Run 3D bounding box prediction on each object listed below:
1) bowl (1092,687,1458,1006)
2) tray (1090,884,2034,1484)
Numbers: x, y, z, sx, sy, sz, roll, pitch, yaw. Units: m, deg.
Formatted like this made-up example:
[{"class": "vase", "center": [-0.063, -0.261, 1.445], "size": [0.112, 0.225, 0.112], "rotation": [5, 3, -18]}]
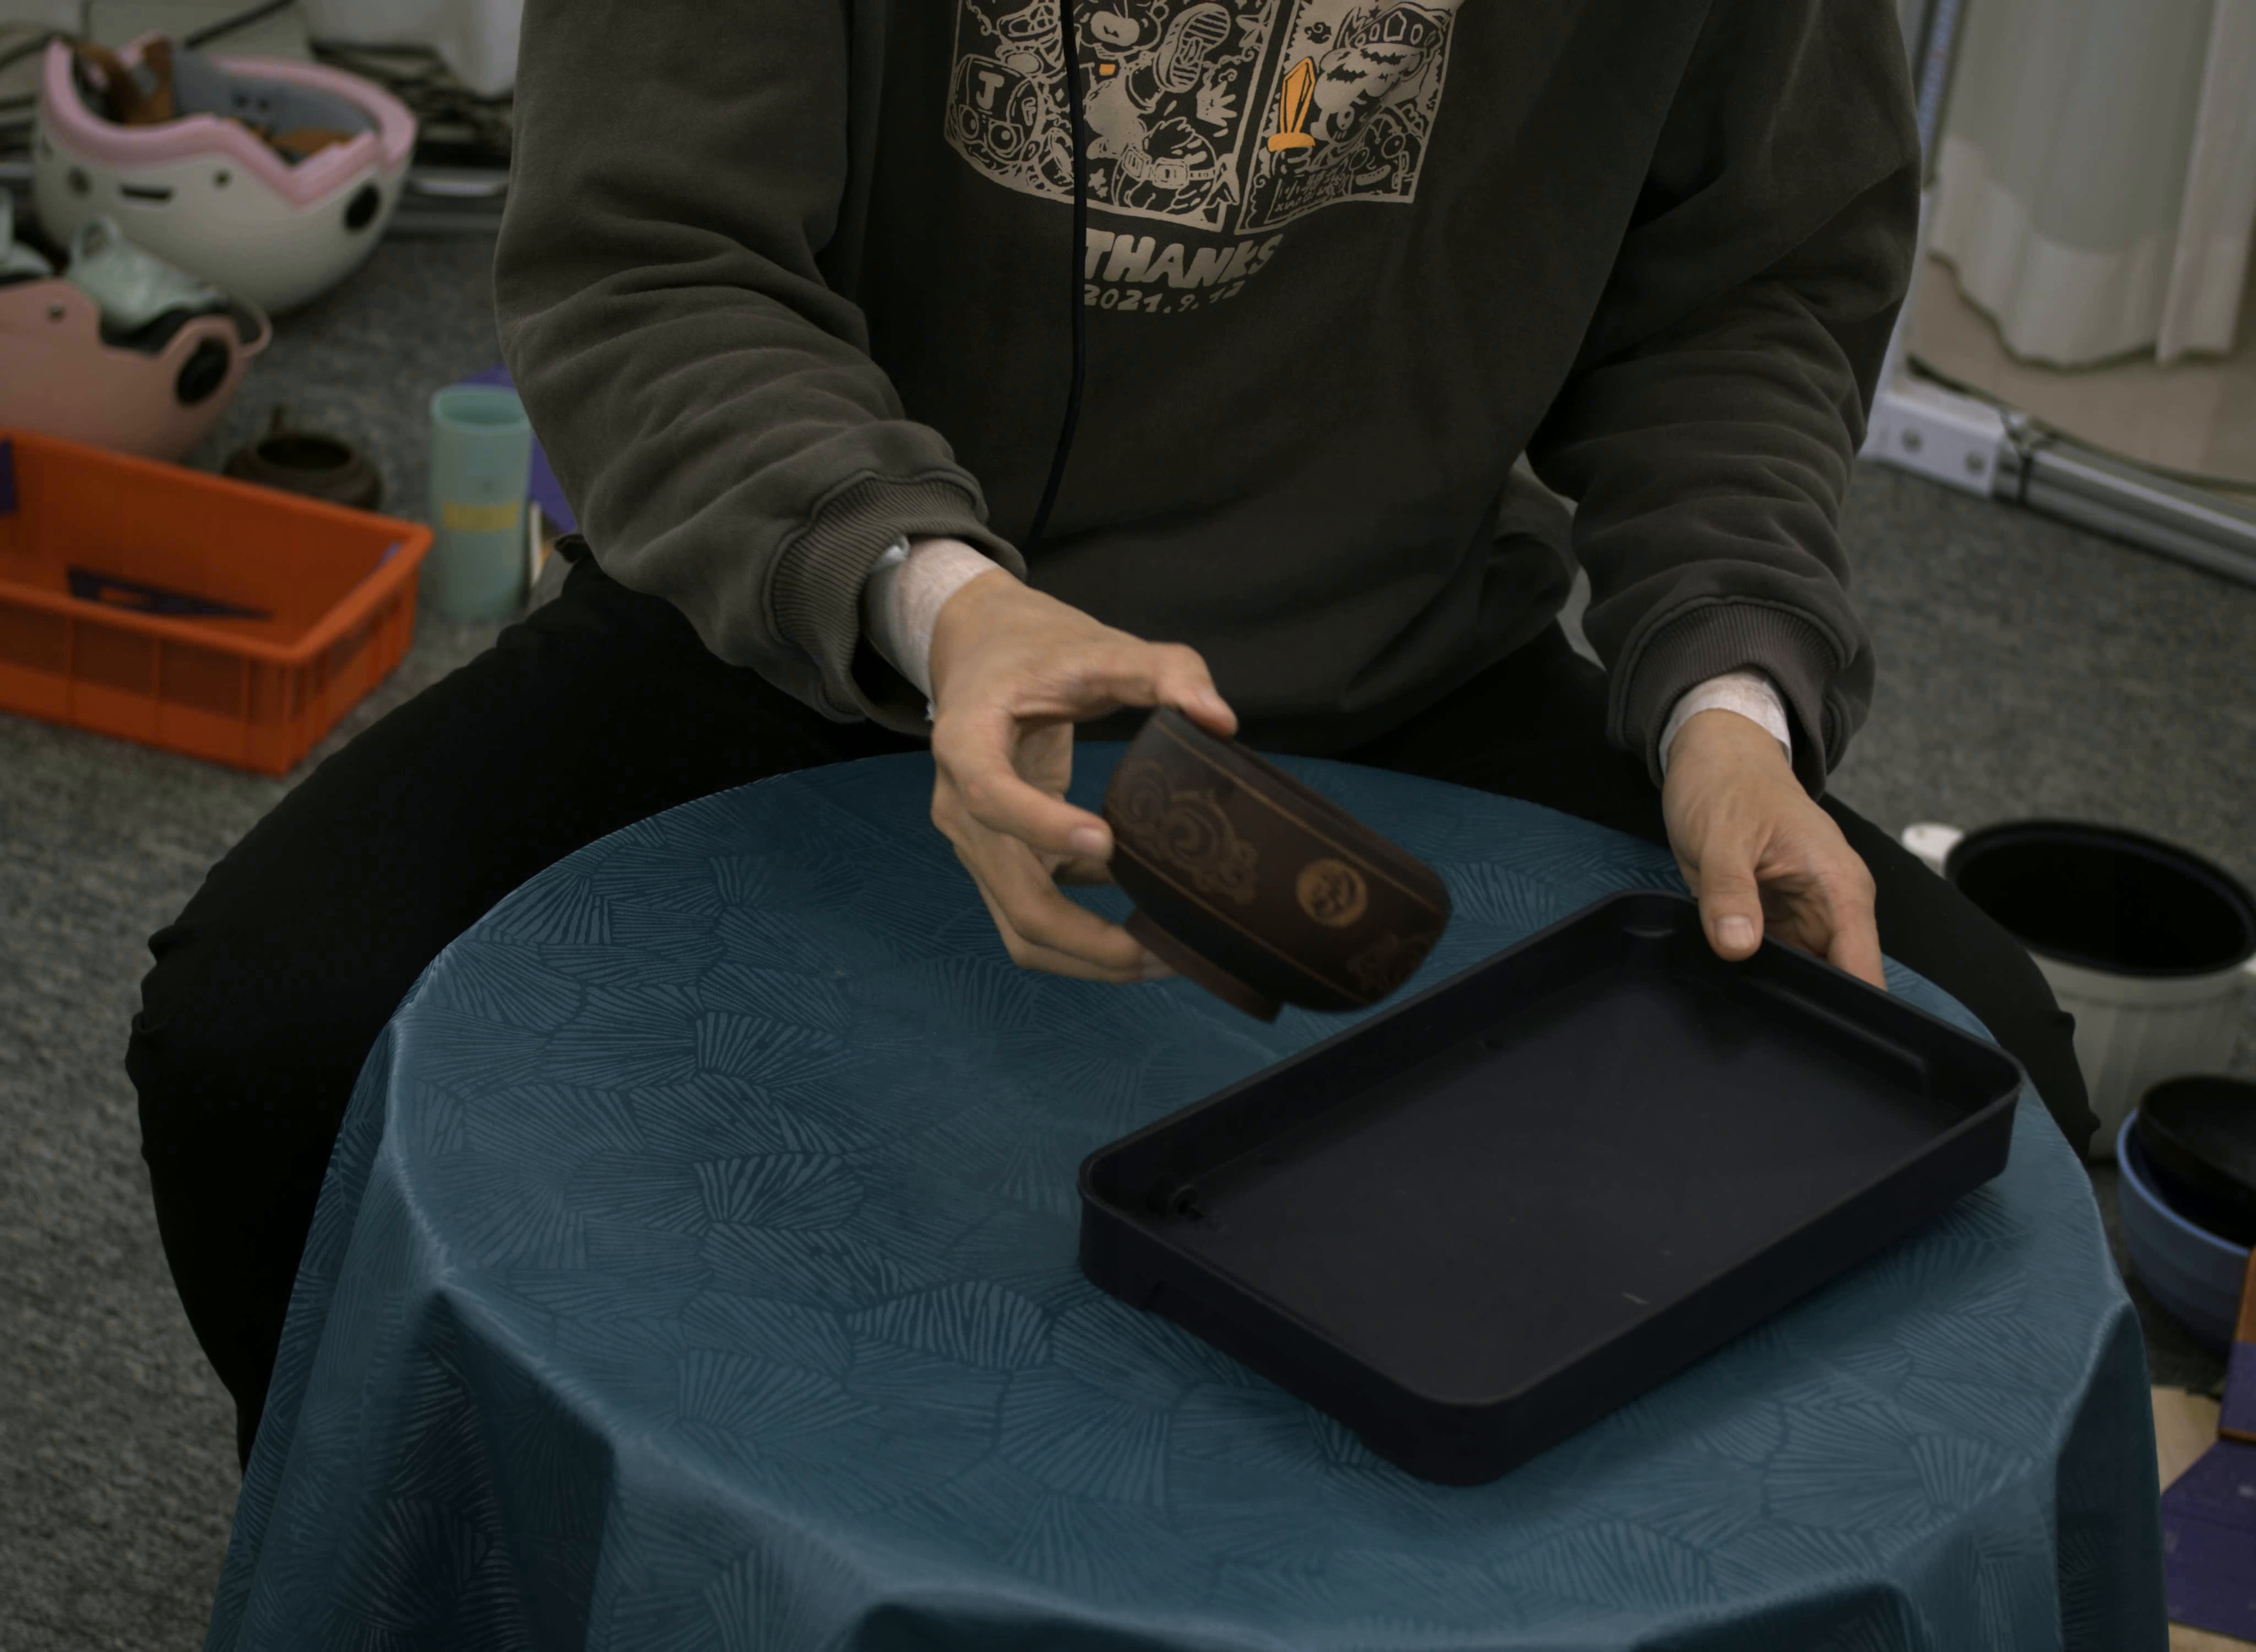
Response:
[{"class": "bowl", "center": [0.039, 0.014, 1.697], "size": [0.118, 0.070, 0.118], "rotation": [31, 2, -2]}, {"class": "tray", "center": [0.150, 0.114, 1.804], "size": [0.185, 0.037, 0.317], "rotation": [26, 35, 35]}]
